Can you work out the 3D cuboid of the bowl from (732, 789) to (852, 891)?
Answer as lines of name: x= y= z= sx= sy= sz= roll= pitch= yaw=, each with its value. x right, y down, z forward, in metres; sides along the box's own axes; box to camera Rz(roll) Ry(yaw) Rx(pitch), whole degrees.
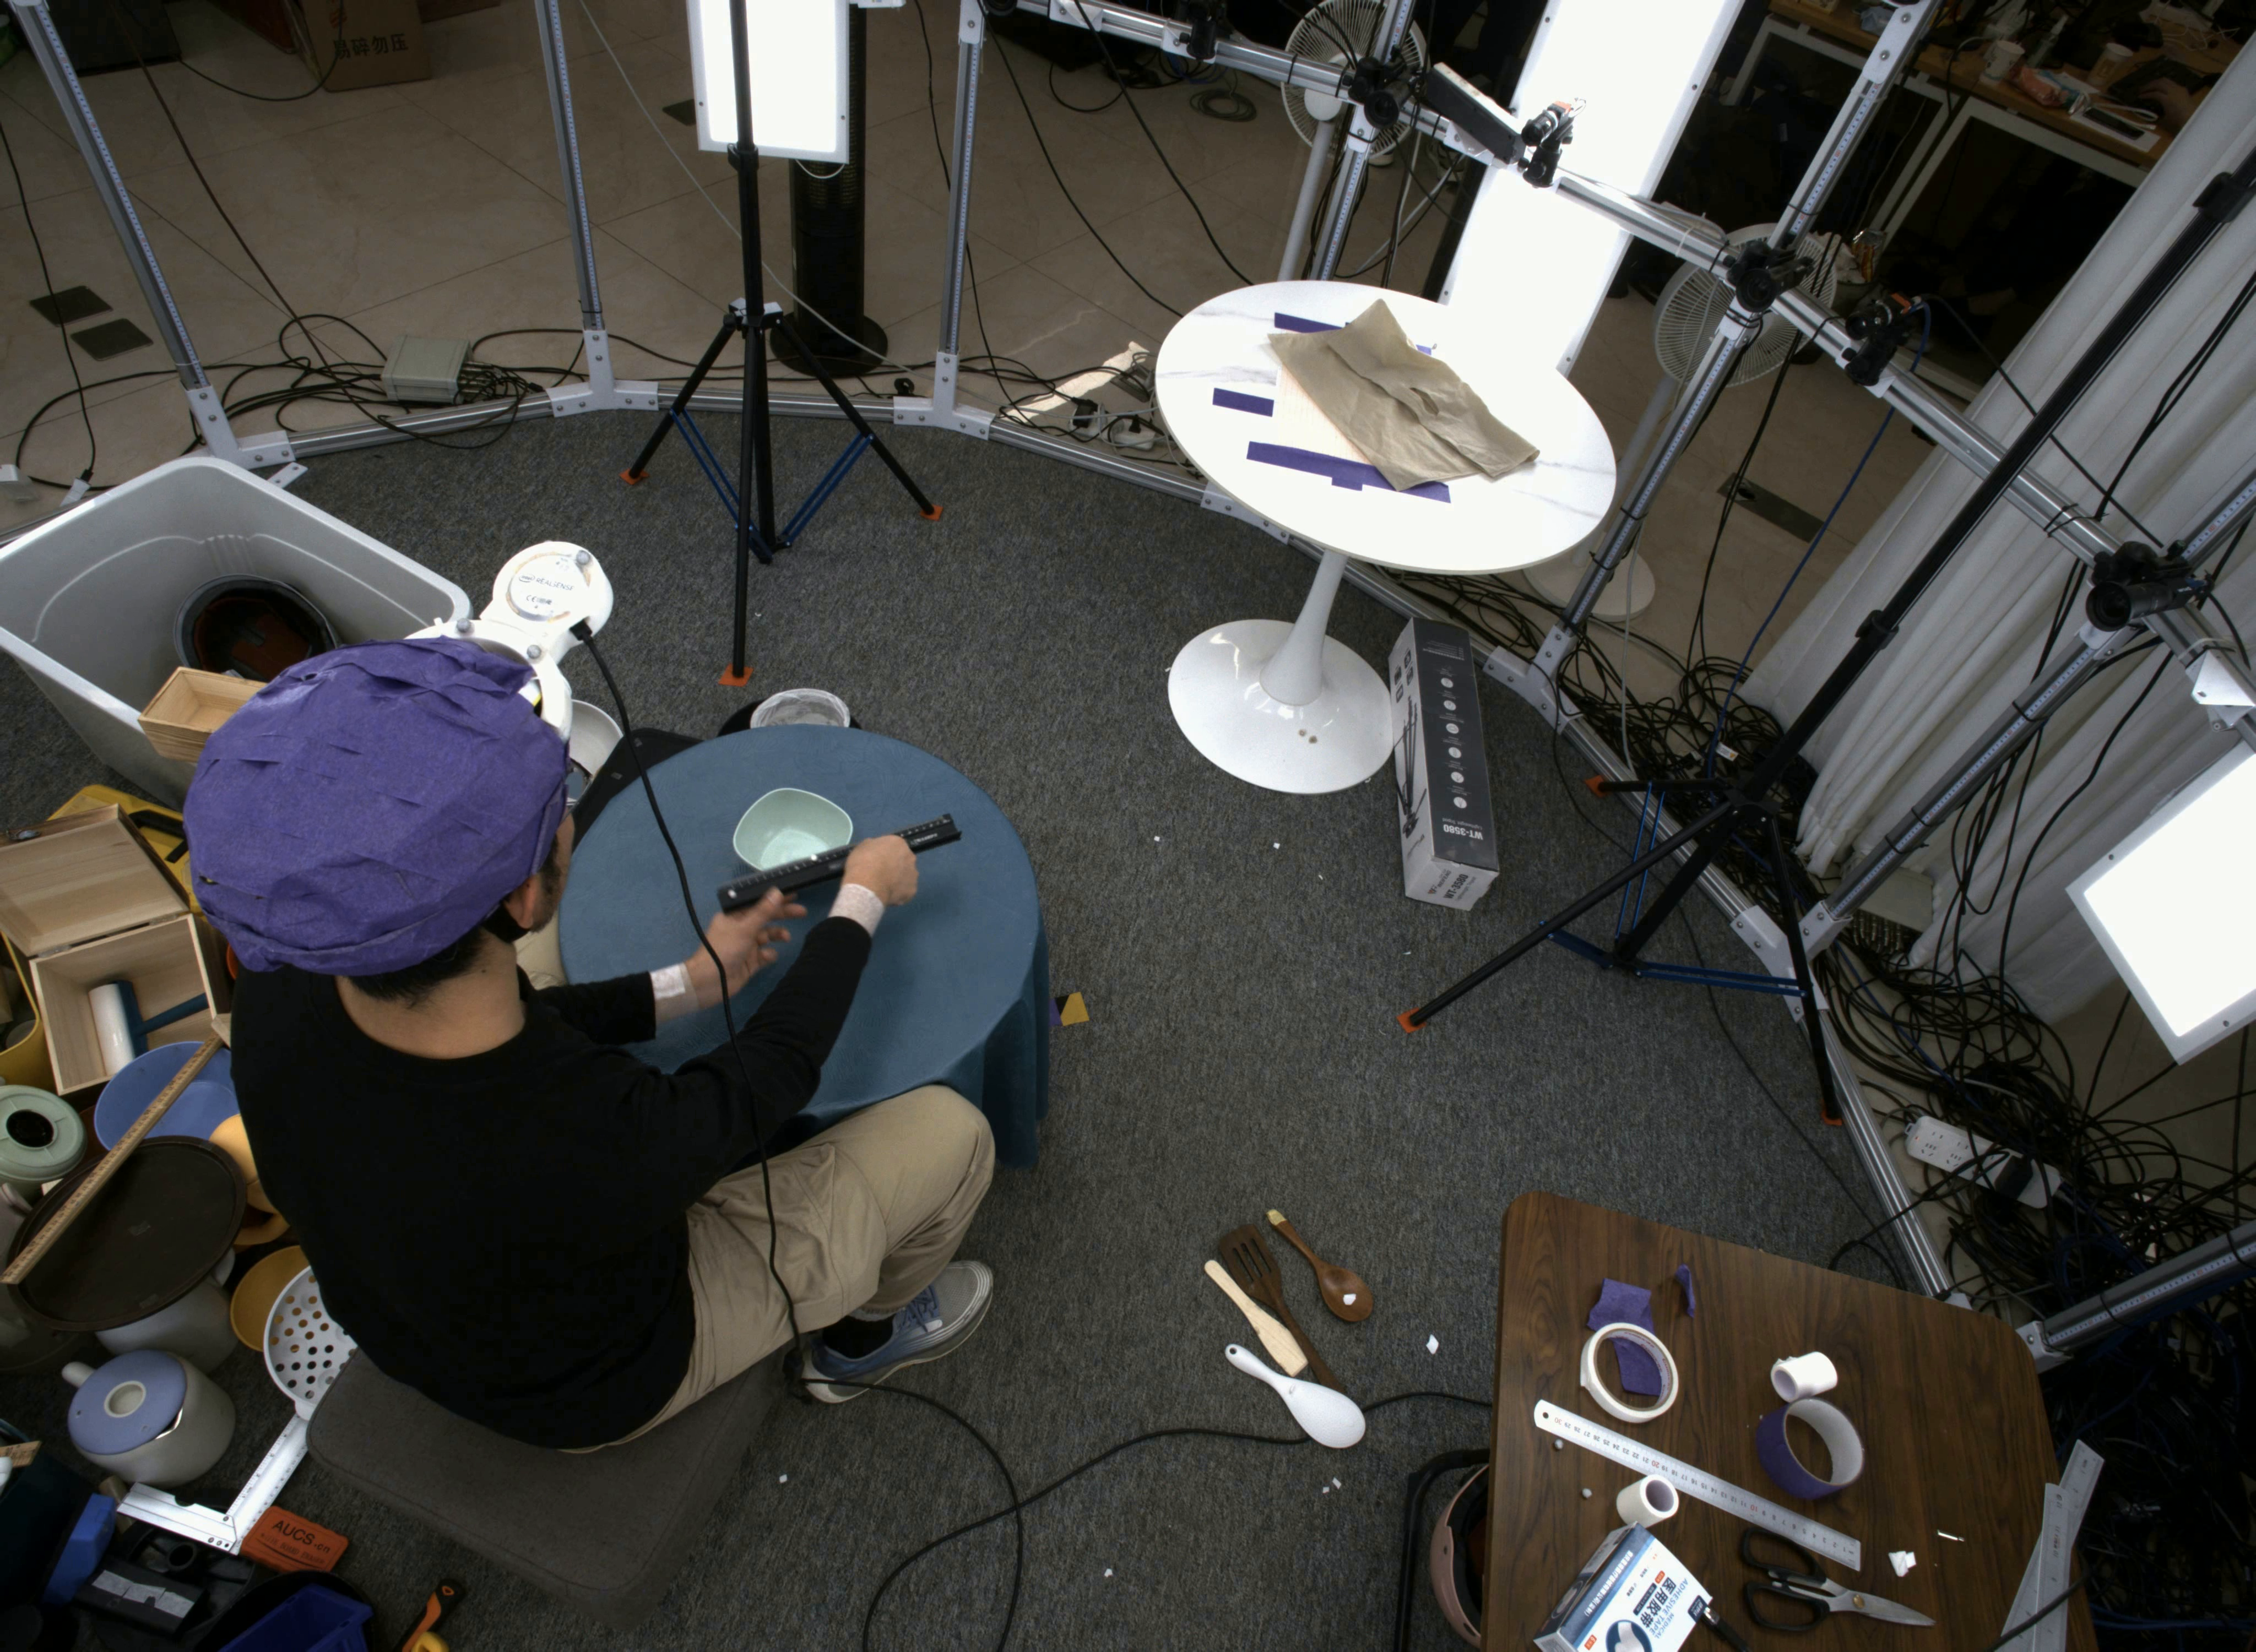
bowl: x=-0.430 y=0.026 z=1.660 sx=0.151 sy=0.060 sz=0.148 roll=9 pitch=49 yaw=-9

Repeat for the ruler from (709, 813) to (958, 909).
ruler: x=-0.352 y=0.036 z=1.581 sx=0.315 sy=0.017 sz=0.039 roll=-17 pitch=77 yaw=-29
